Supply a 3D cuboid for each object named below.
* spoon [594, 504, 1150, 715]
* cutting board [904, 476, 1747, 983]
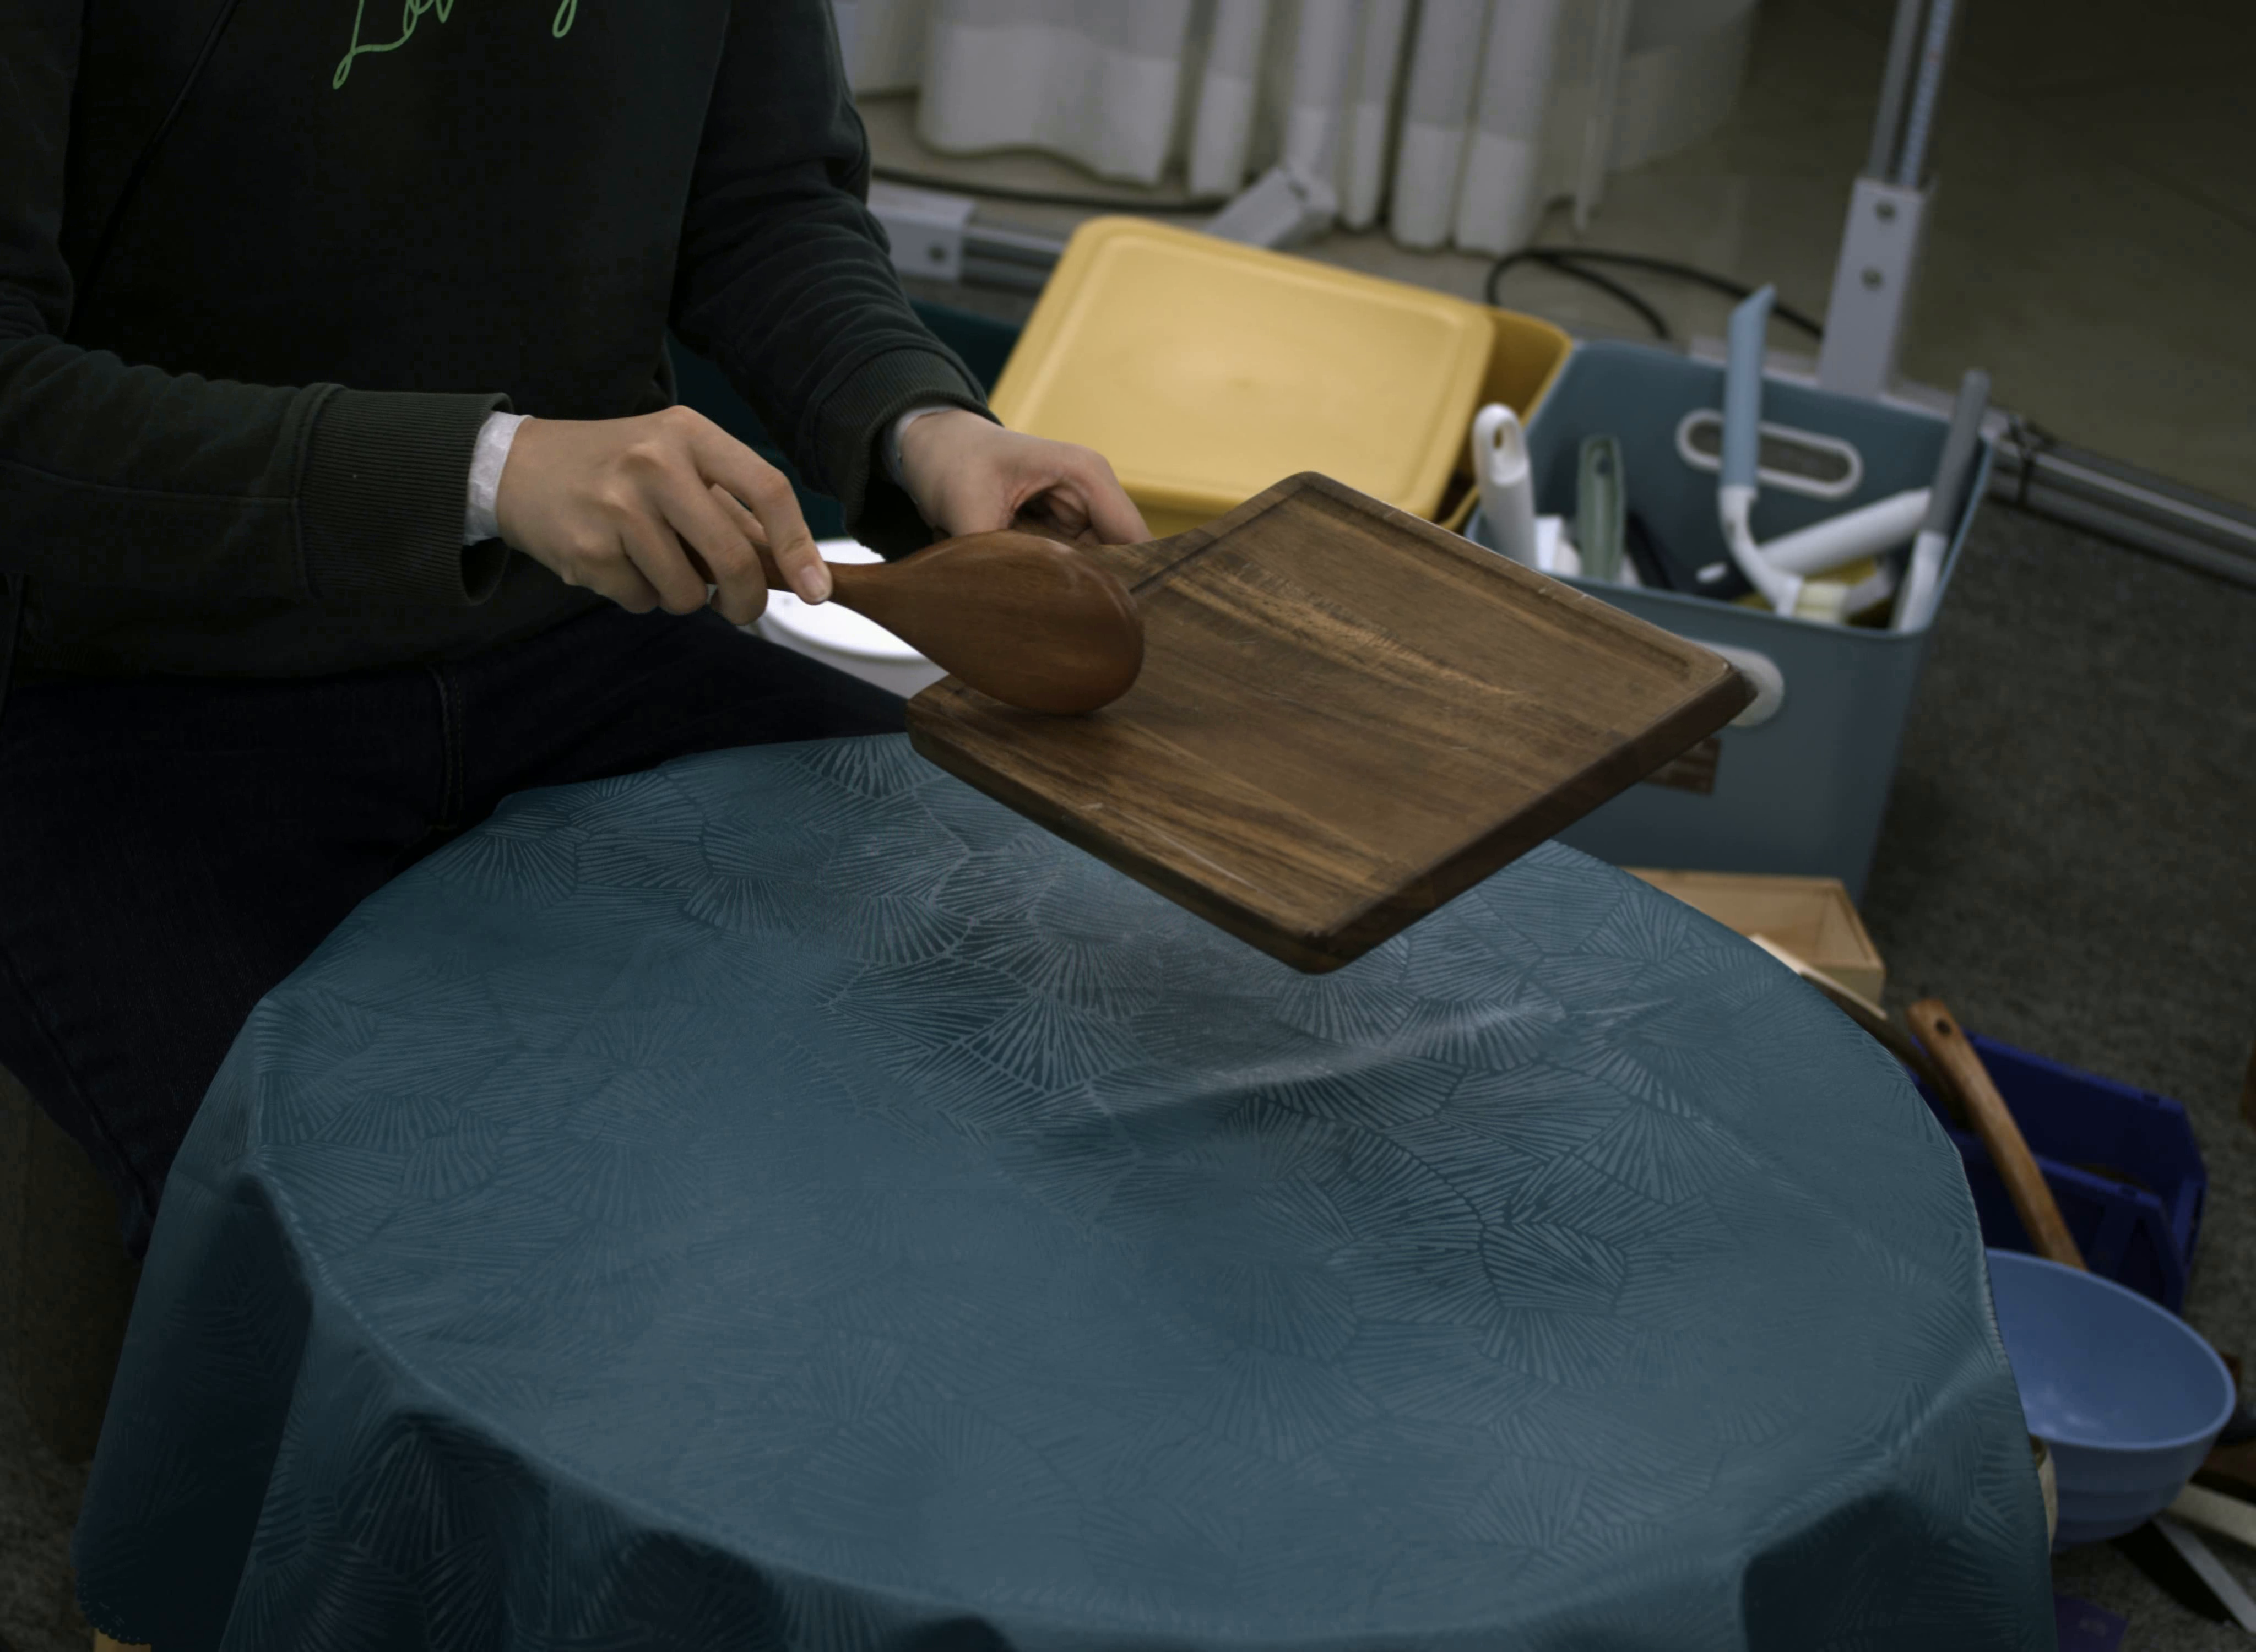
[{"bbox_3d":[-0.094,-0.082,1.899,0.216,0.075,0.017,14,43,20],"label":"spoon"},{"bbox_3d":[0.037,-0.055,1.908,0.200,0.023,0.355,-32,35,-23],"label":"cutting board"}]
